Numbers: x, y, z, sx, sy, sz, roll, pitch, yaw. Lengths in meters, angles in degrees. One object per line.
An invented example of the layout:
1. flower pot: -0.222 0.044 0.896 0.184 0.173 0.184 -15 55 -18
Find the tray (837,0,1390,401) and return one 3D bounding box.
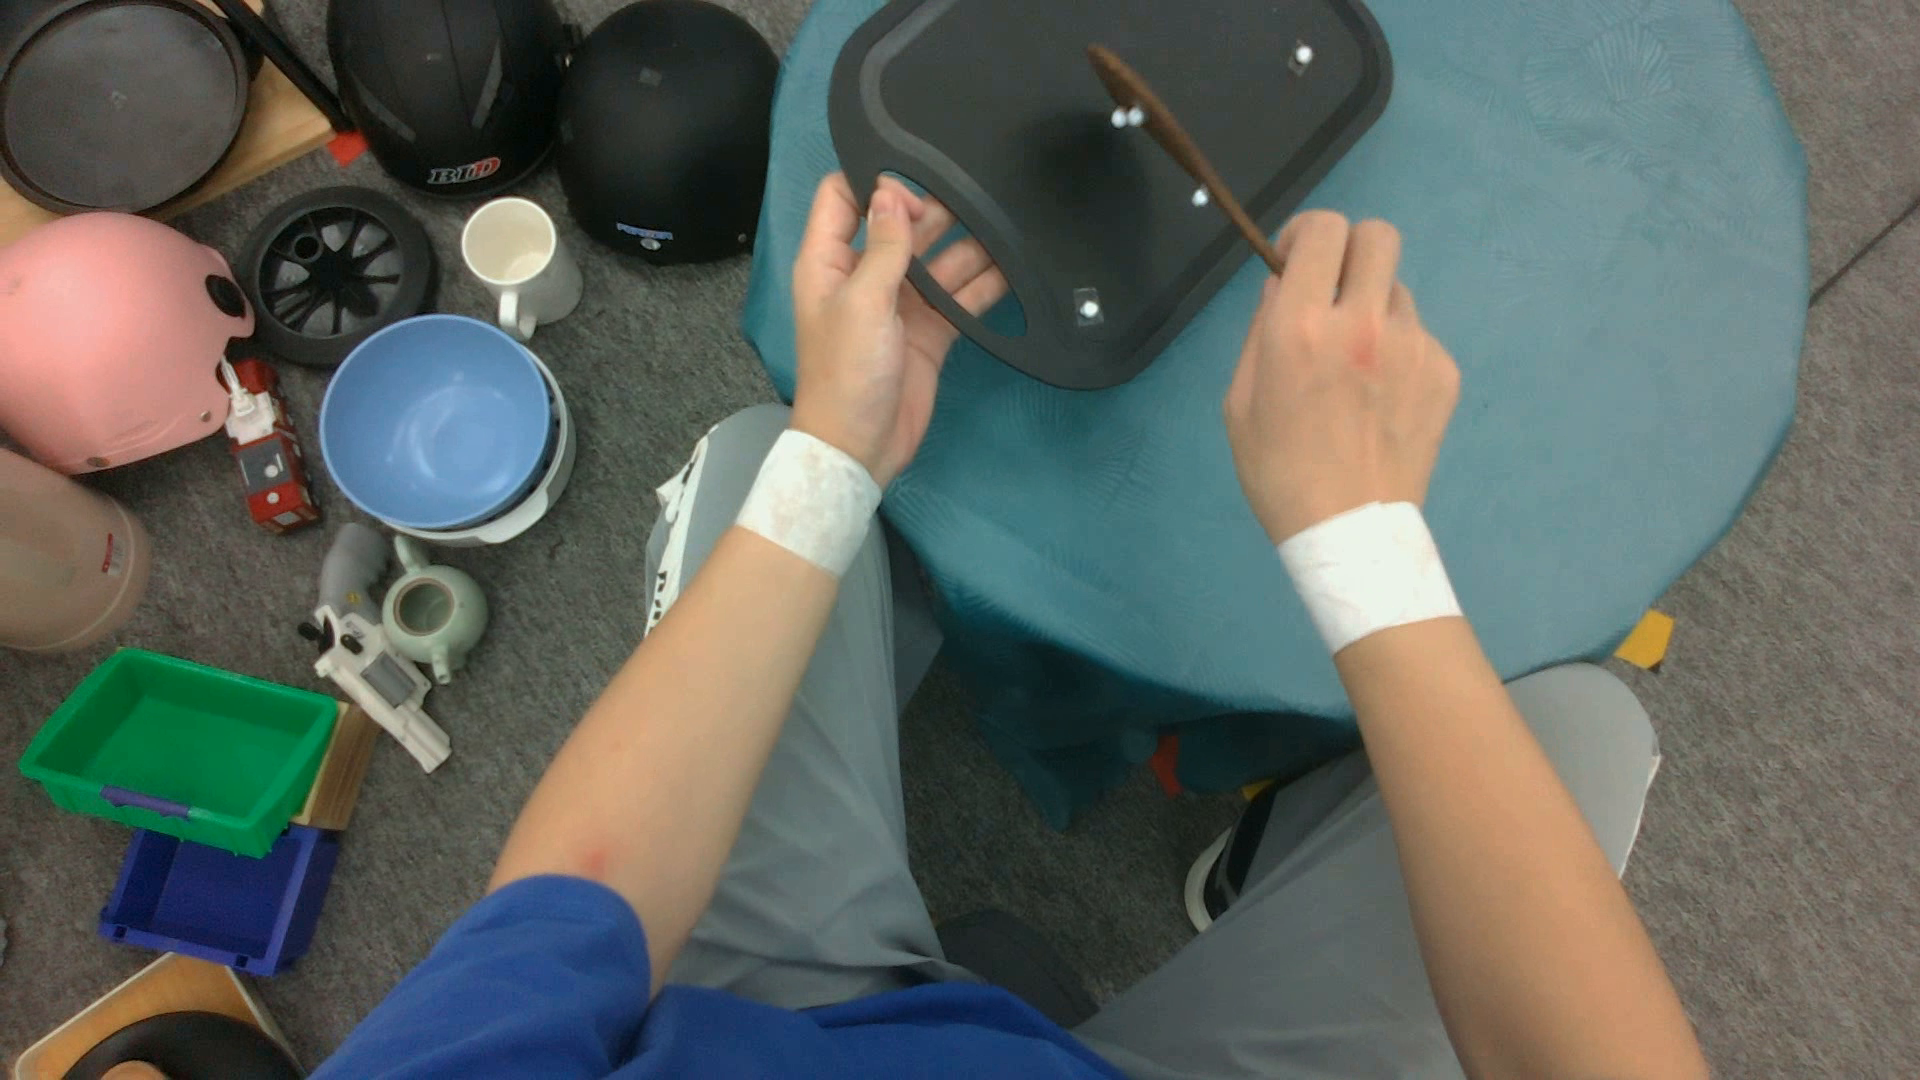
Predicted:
1. tray: 0.089 -0.223 0.711 0.211 0.010 0.326 48 68 -9

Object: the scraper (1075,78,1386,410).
1. scraper: 0.128 -0.140 0.646 0.011 0.076 0.211 -42 74 16
